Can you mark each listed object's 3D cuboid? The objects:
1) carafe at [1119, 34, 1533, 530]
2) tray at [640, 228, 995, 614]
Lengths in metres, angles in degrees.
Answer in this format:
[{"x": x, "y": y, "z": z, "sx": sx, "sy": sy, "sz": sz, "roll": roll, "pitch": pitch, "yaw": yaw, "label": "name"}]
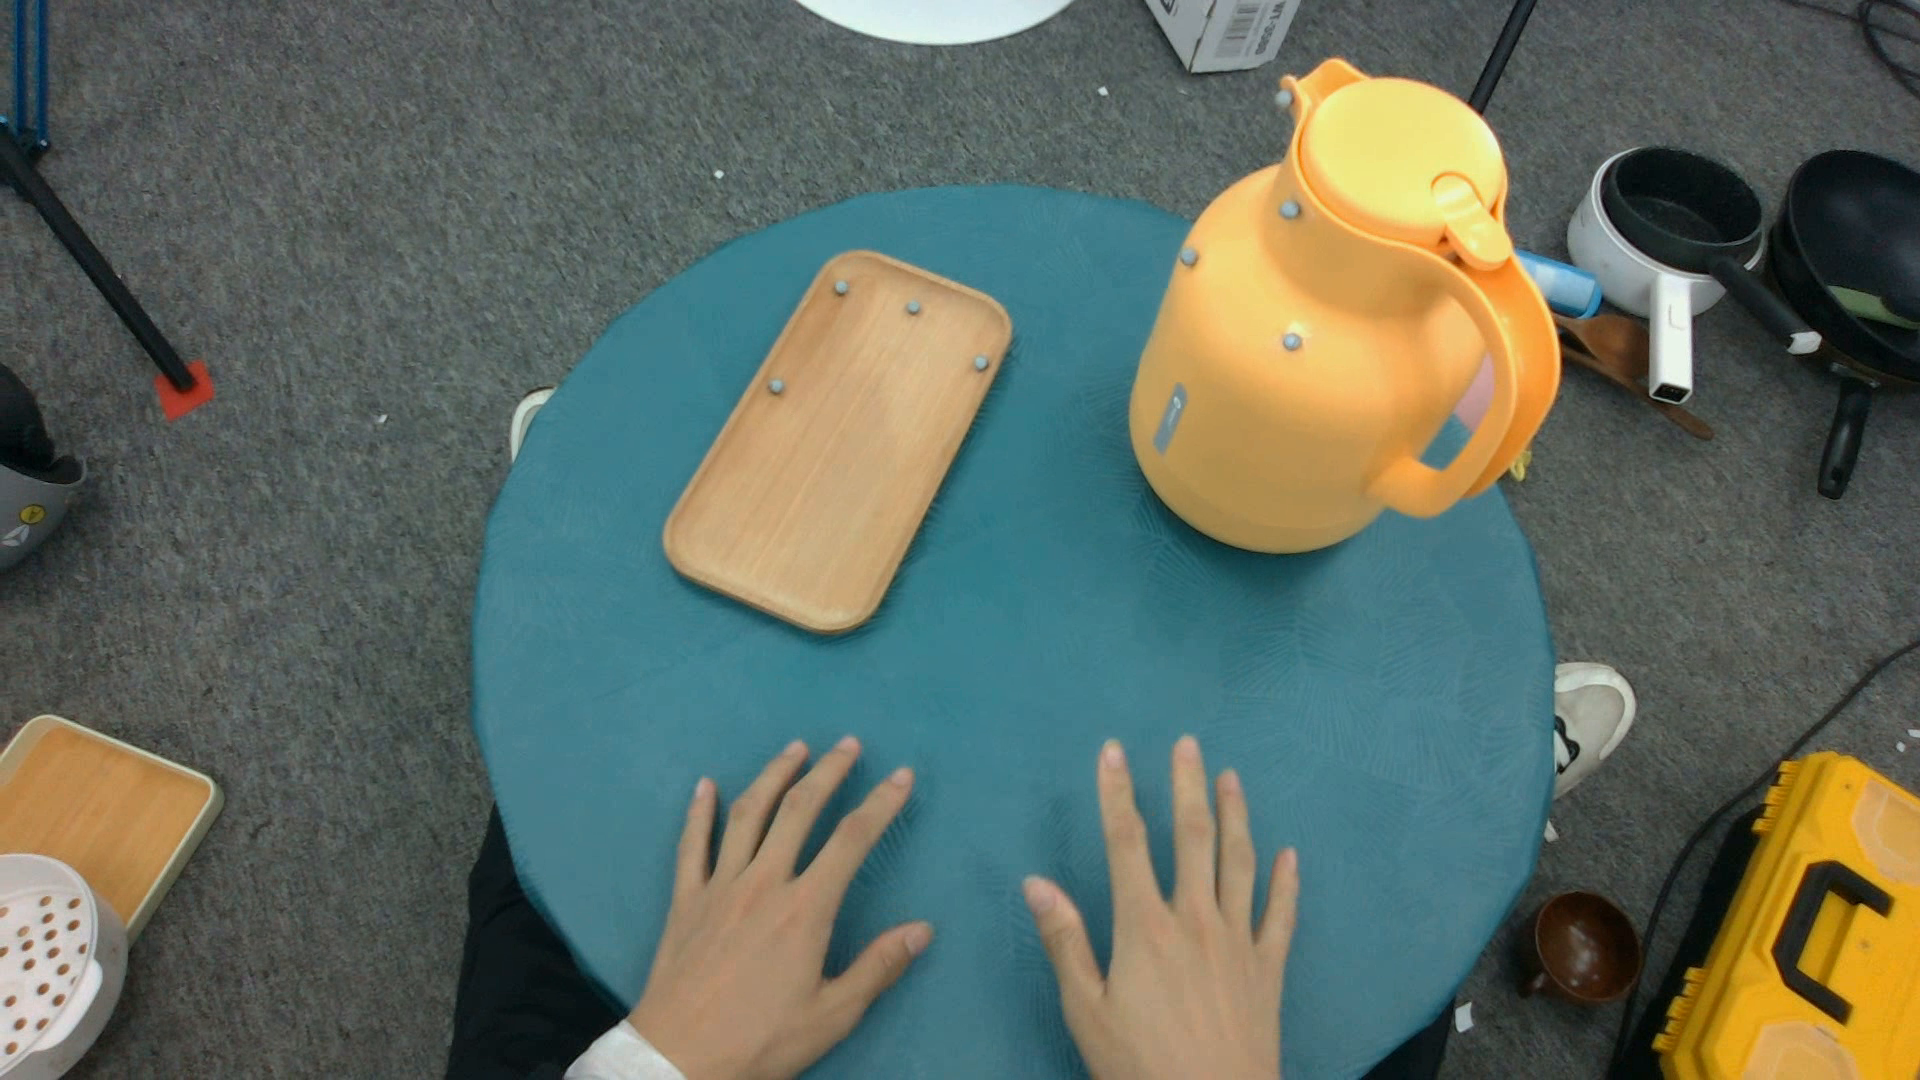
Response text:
[{"x": 0.186, "y": -0.110, "z": 0.705, "sx": 0.164, "sy": 0.259, "sz": 0.203, "roll": -23, "pitch": 65, "yaw": -15, "label": "carafe"}, {"x": -0.077, "y": -0.075, "z": 0.798, "sx": 0.130, "sy": 0.023, "sz": 0.252, "roll": 22, "pitch": 62, "yaw": 8, "label": "tray"}]
